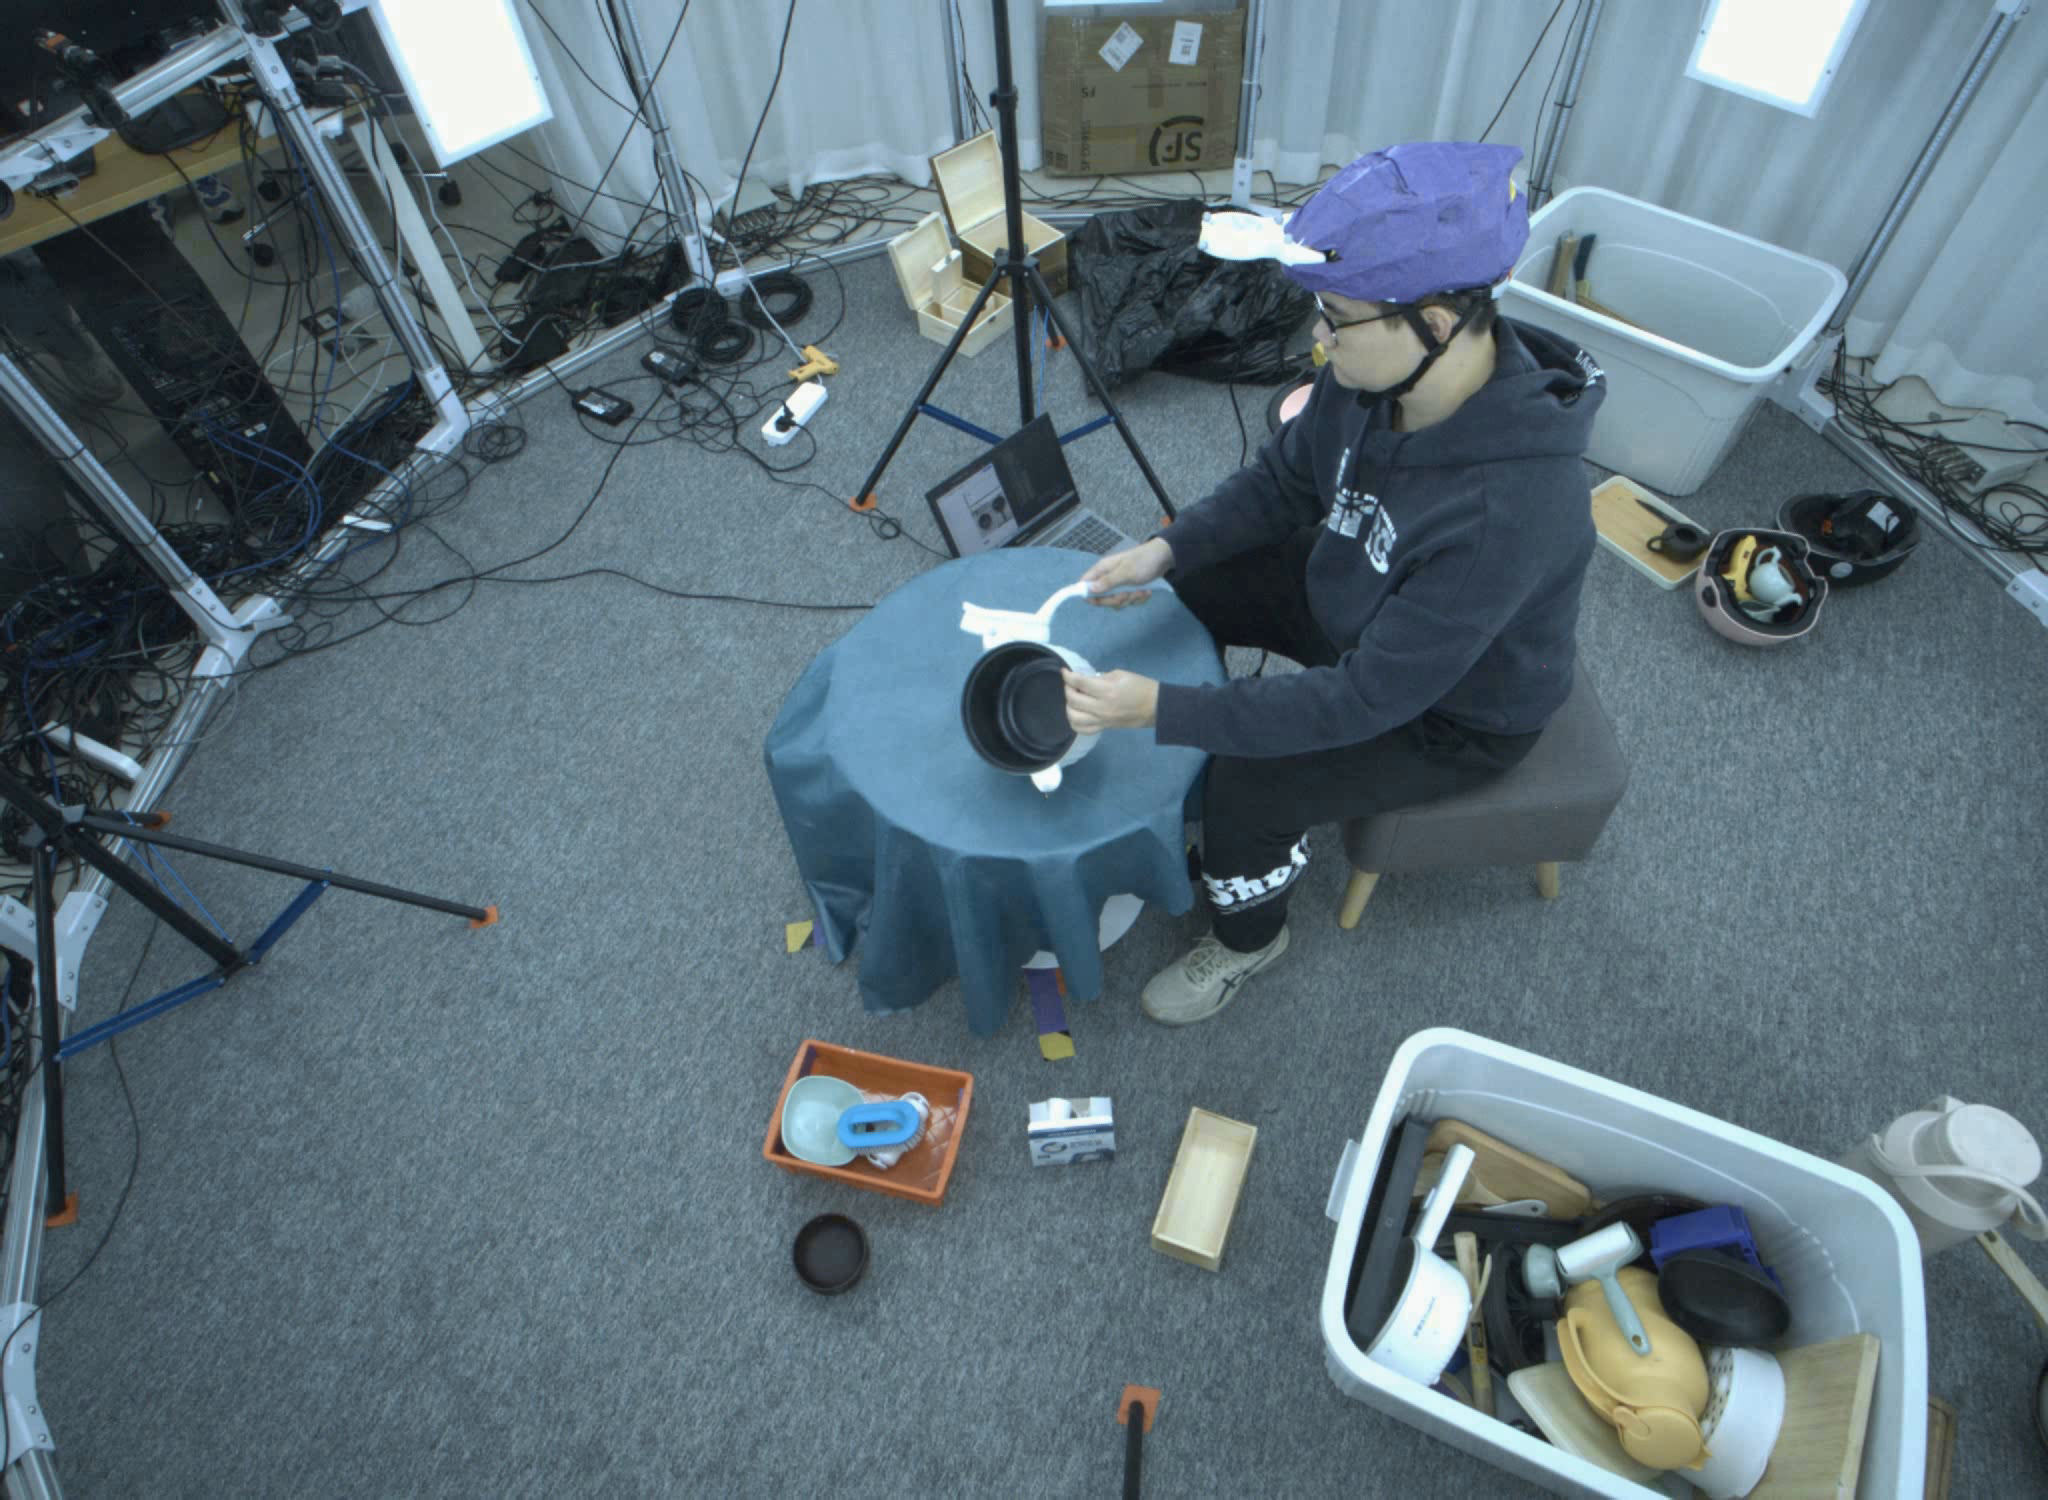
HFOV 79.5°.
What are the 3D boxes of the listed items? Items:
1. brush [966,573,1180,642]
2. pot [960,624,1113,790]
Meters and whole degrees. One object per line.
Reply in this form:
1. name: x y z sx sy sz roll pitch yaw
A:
1. brush: 0.077 -0.194 1.803 0.328 0.085 0.081 -7 43 -12
2. pot: 0.017 -0.057 1.715 0.189 0.144 0.239 -23 82 19
